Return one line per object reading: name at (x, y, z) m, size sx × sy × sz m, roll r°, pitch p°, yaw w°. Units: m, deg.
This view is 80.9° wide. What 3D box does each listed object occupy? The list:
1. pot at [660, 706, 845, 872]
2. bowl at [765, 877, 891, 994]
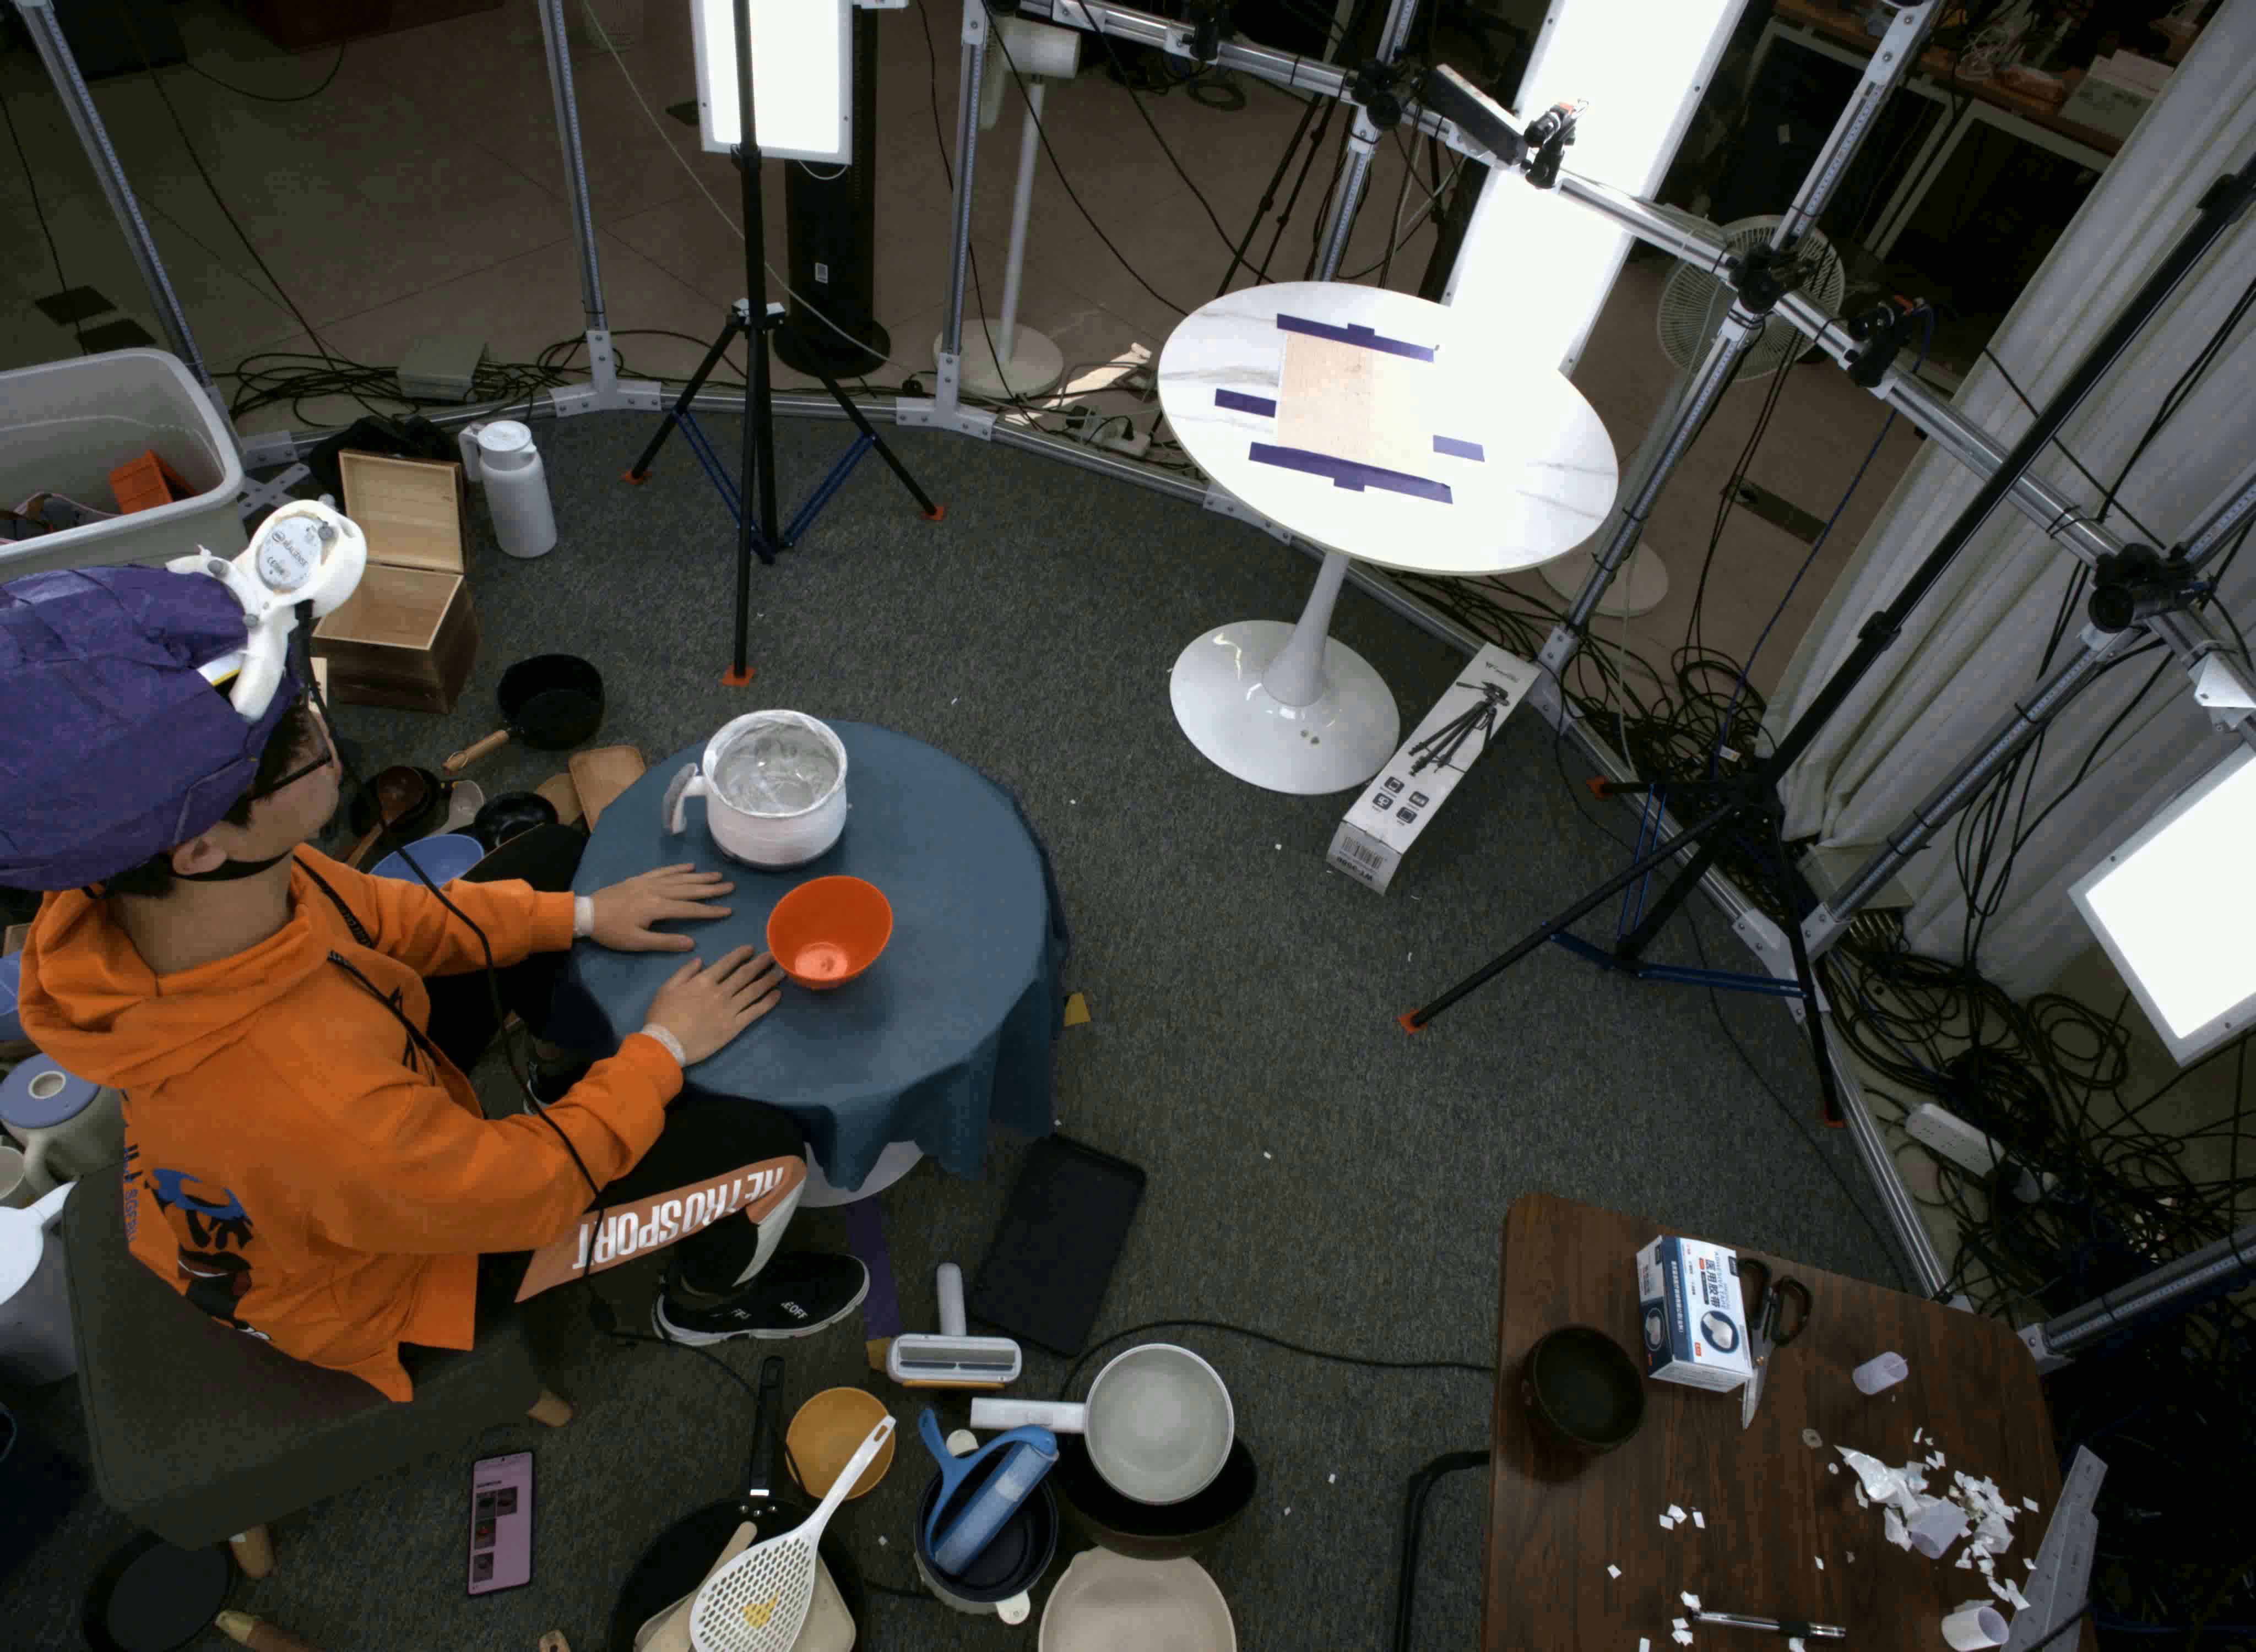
pot at (-0.477, -0.040, 1.641) m, size 0.235 × 0.139 × 0.174 m, roll -7°, pitch 55°, yaw -19°
bowl at (-0.359, 0.144, 1.561) m, size 0.147 × 0.107 × 0.145 m, roll 7°, pitch 51°, yaw -7°
